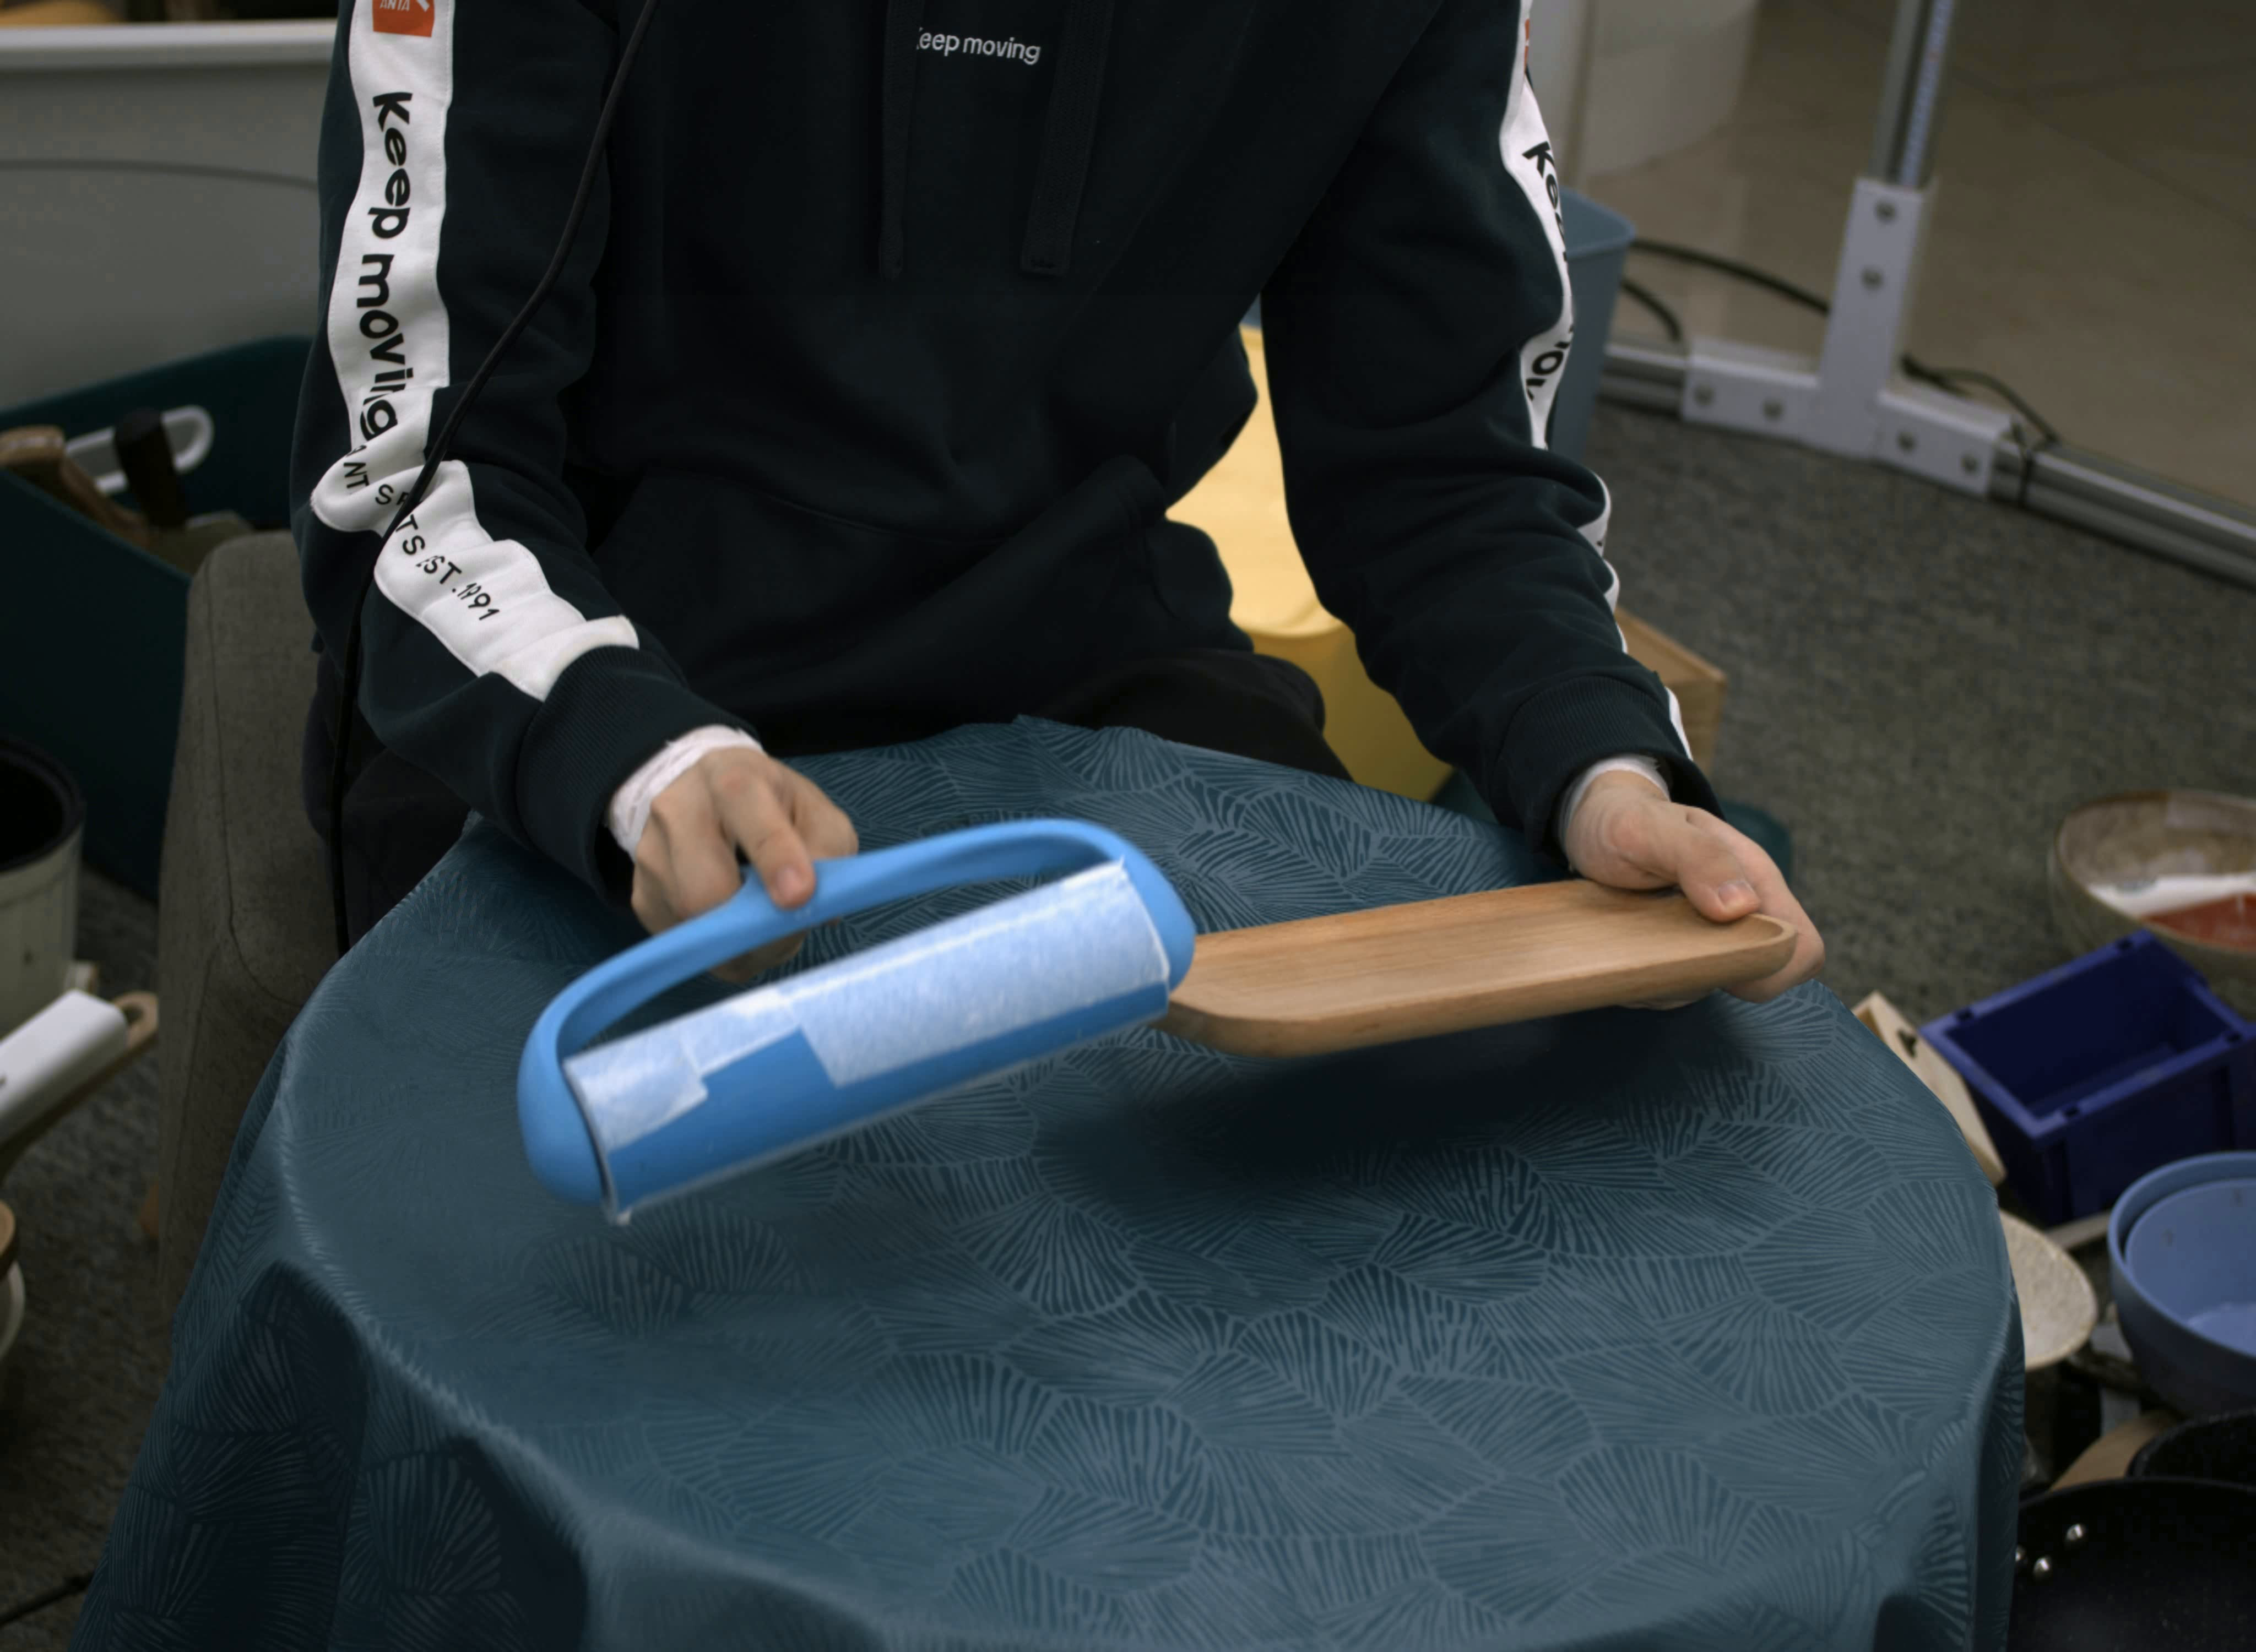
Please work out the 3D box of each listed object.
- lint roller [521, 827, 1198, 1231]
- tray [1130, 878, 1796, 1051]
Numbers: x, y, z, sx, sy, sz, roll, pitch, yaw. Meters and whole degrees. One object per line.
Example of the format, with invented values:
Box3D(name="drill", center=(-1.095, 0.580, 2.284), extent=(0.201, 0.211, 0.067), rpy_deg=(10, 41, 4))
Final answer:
Box3D(name="lint roller", center=(-0.108, 0.047, 1.746), extent=(0.228, 0.067, 0.182), rpy_deg=(-23, 30, -16))
Box3D(name="tray", center=(0.107, 0.047, 1.849), extent=(0.249, 0.023, 0.131), rpy_deg=(-8, 11, -32))
